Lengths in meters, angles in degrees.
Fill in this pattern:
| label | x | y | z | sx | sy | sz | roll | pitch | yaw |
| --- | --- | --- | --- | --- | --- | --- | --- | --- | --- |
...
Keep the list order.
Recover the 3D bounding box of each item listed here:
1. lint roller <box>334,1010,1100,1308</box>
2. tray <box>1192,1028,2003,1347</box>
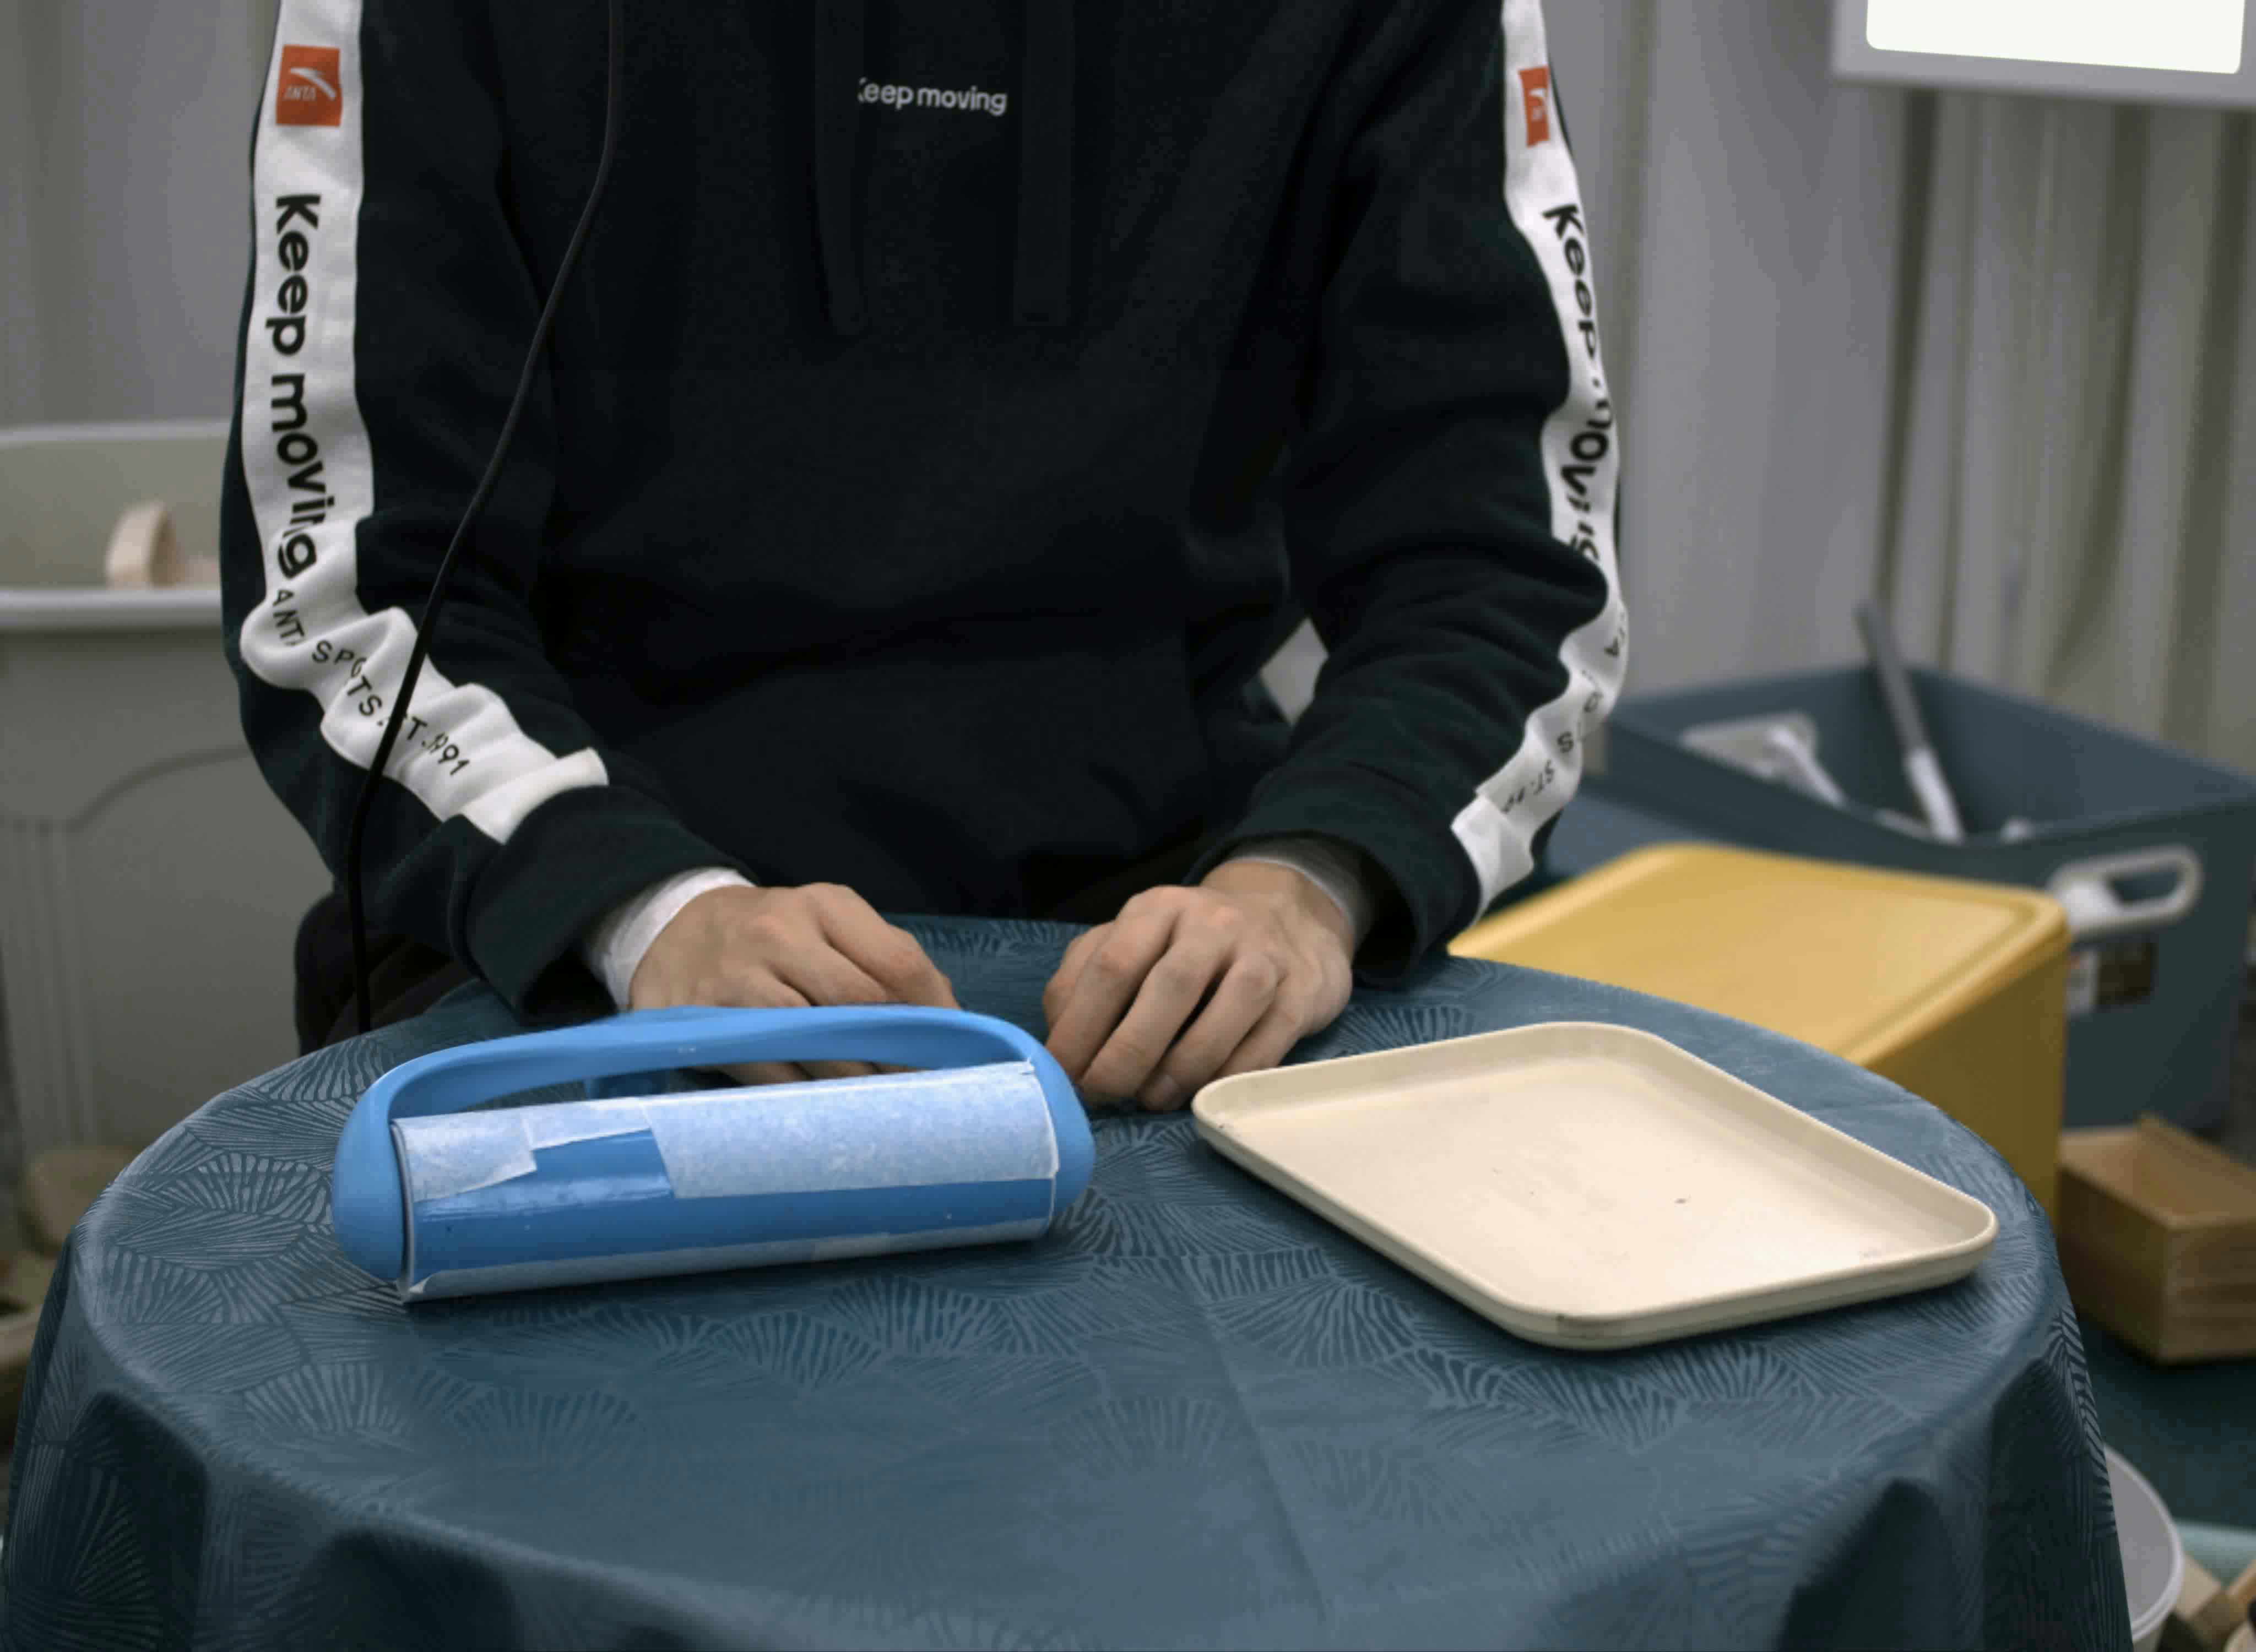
| label | x | y | z | sx | sy | sz | roll | pitch | yaw |
| --- | --- | --- | --- | --- | --- | --- | --- | --- | --- |
| lint roller | -0.138 | 0.088 | 1.597 | 0.229 | 0.068 | 0.178 | -7 | 18 | -19 |
| tray | 0.139 | 0.108 | 1.604 | 0.172 | 0.017 | 0.236 | -7 | 17 | -27 |
